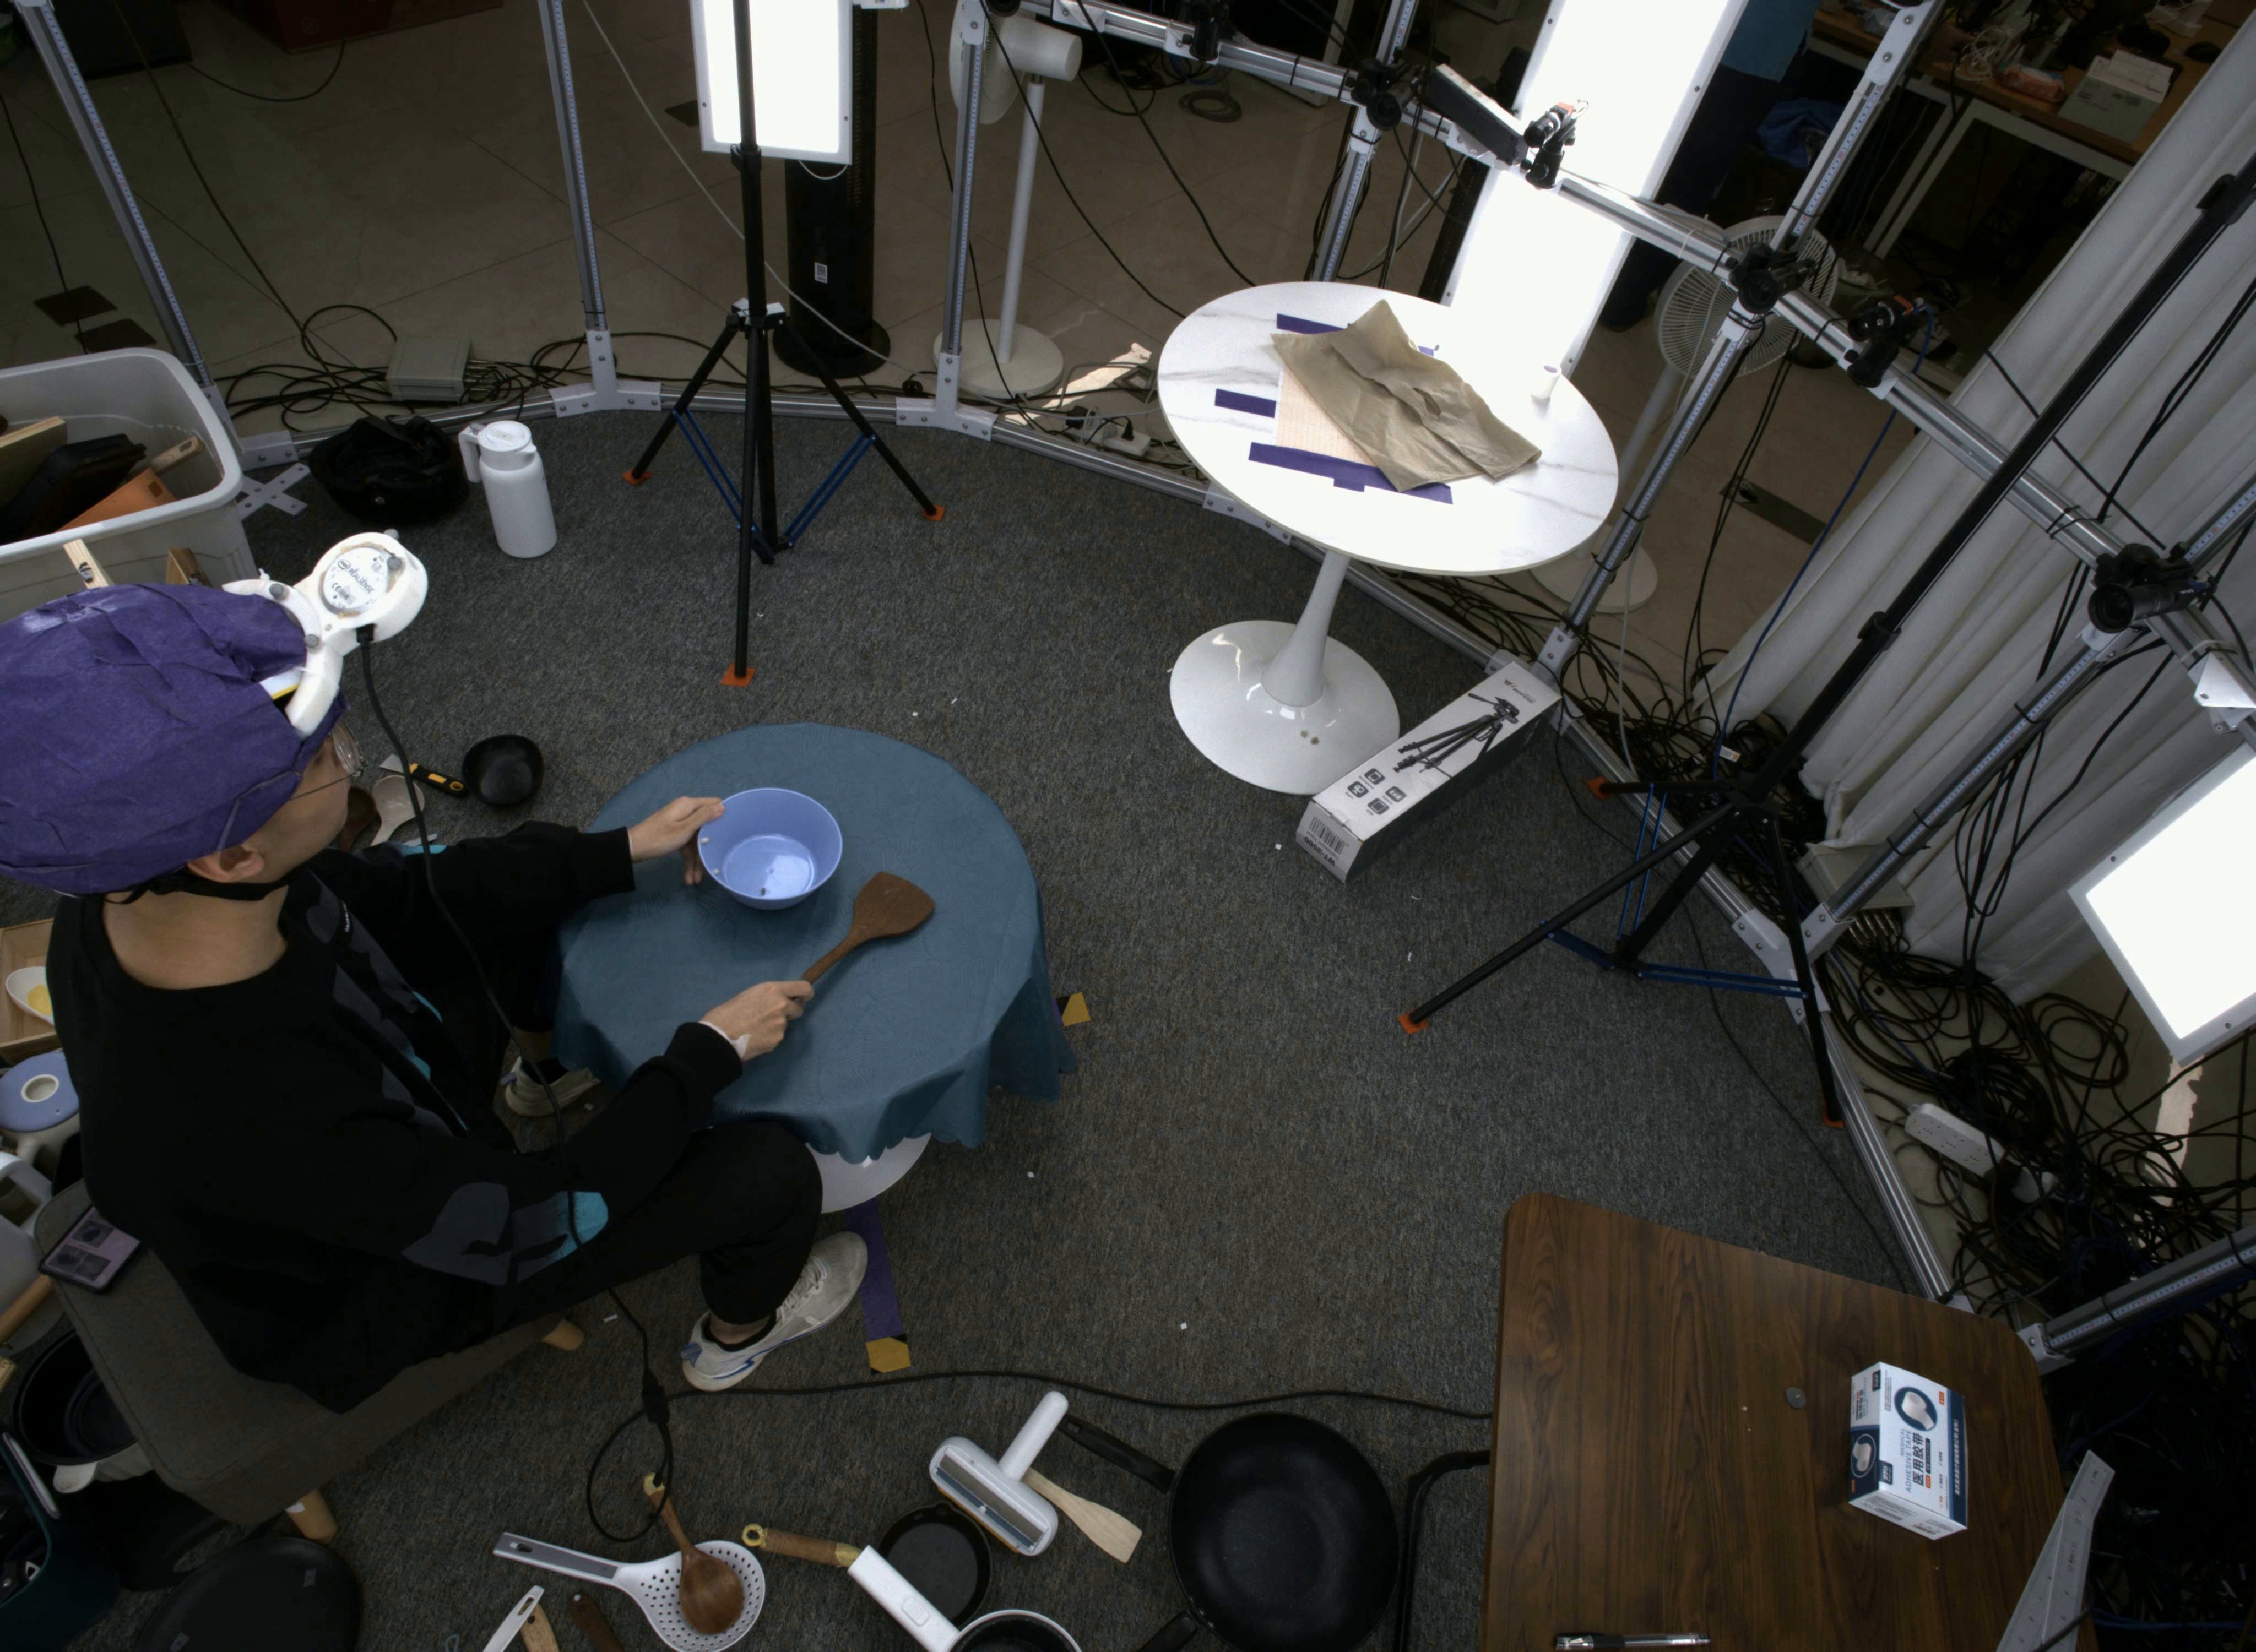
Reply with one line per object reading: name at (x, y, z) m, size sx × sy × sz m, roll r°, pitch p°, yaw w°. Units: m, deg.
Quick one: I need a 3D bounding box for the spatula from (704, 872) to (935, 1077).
spatula at (-0.375, 0.174, 1.572) m, size 0.094 × 0.016 × 0.385 m, roll 31°, pitch 43°, yaw 12°

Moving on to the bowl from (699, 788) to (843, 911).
bowl at (-0.451, 0.039, 1.641) m, size 0.176 × 0.071 × 0.173 m, roll 9°, pitch 51°, yaw -9°
